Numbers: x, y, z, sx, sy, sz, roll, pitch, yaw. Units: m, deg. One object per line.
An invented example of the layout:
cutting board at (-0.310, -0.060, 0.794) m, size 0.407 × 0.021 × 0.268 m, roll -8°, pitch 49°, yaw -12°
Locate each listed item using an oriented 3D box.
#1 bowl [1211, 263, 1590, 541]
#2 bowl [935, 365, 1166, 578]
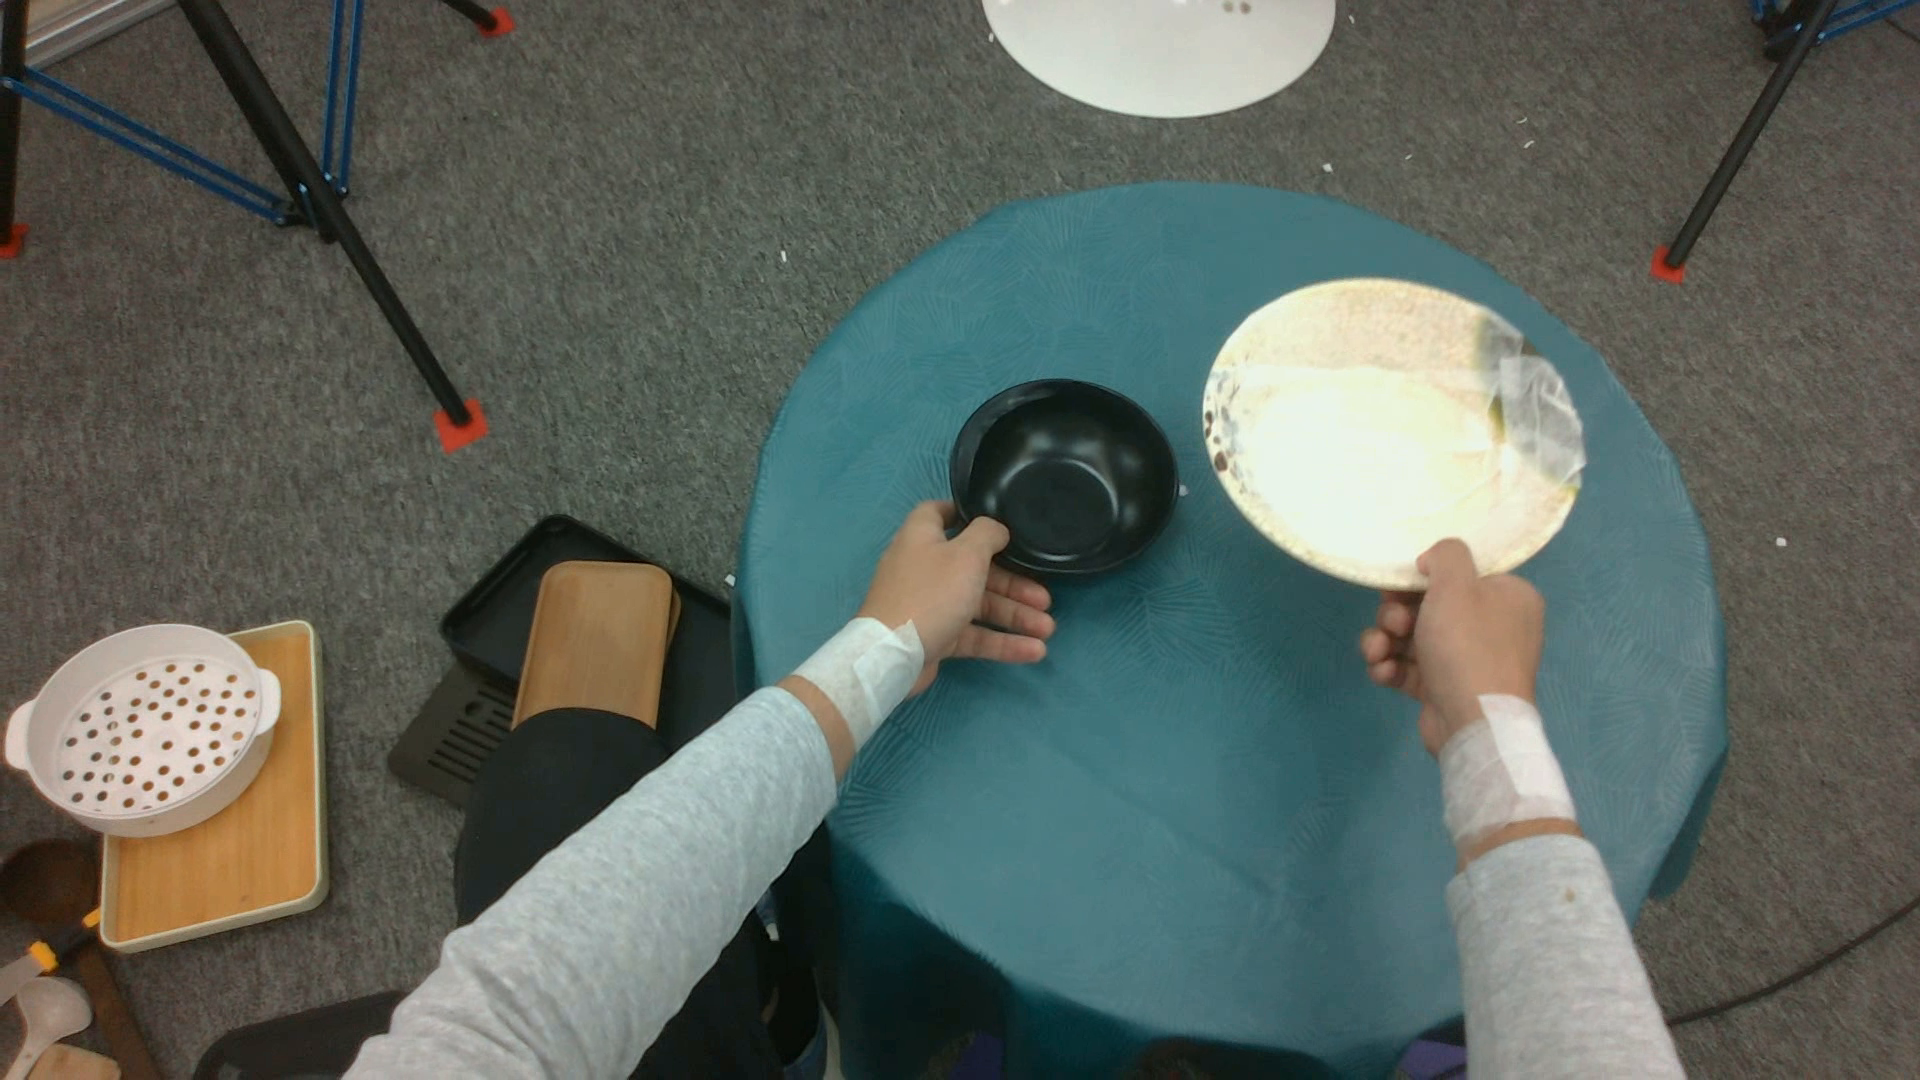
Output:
bowl at (0.237, -0.061, 0.777) m, size 0.204 × 0.077 × 0.205 m, roll 1°, pitch 53°, yaw -2°
bowl at (0.055, -0.036, 0.847) m, size 0.140 × 0.049 × 0.140 m, roll 0°, pitch 67°, yaw 1°
